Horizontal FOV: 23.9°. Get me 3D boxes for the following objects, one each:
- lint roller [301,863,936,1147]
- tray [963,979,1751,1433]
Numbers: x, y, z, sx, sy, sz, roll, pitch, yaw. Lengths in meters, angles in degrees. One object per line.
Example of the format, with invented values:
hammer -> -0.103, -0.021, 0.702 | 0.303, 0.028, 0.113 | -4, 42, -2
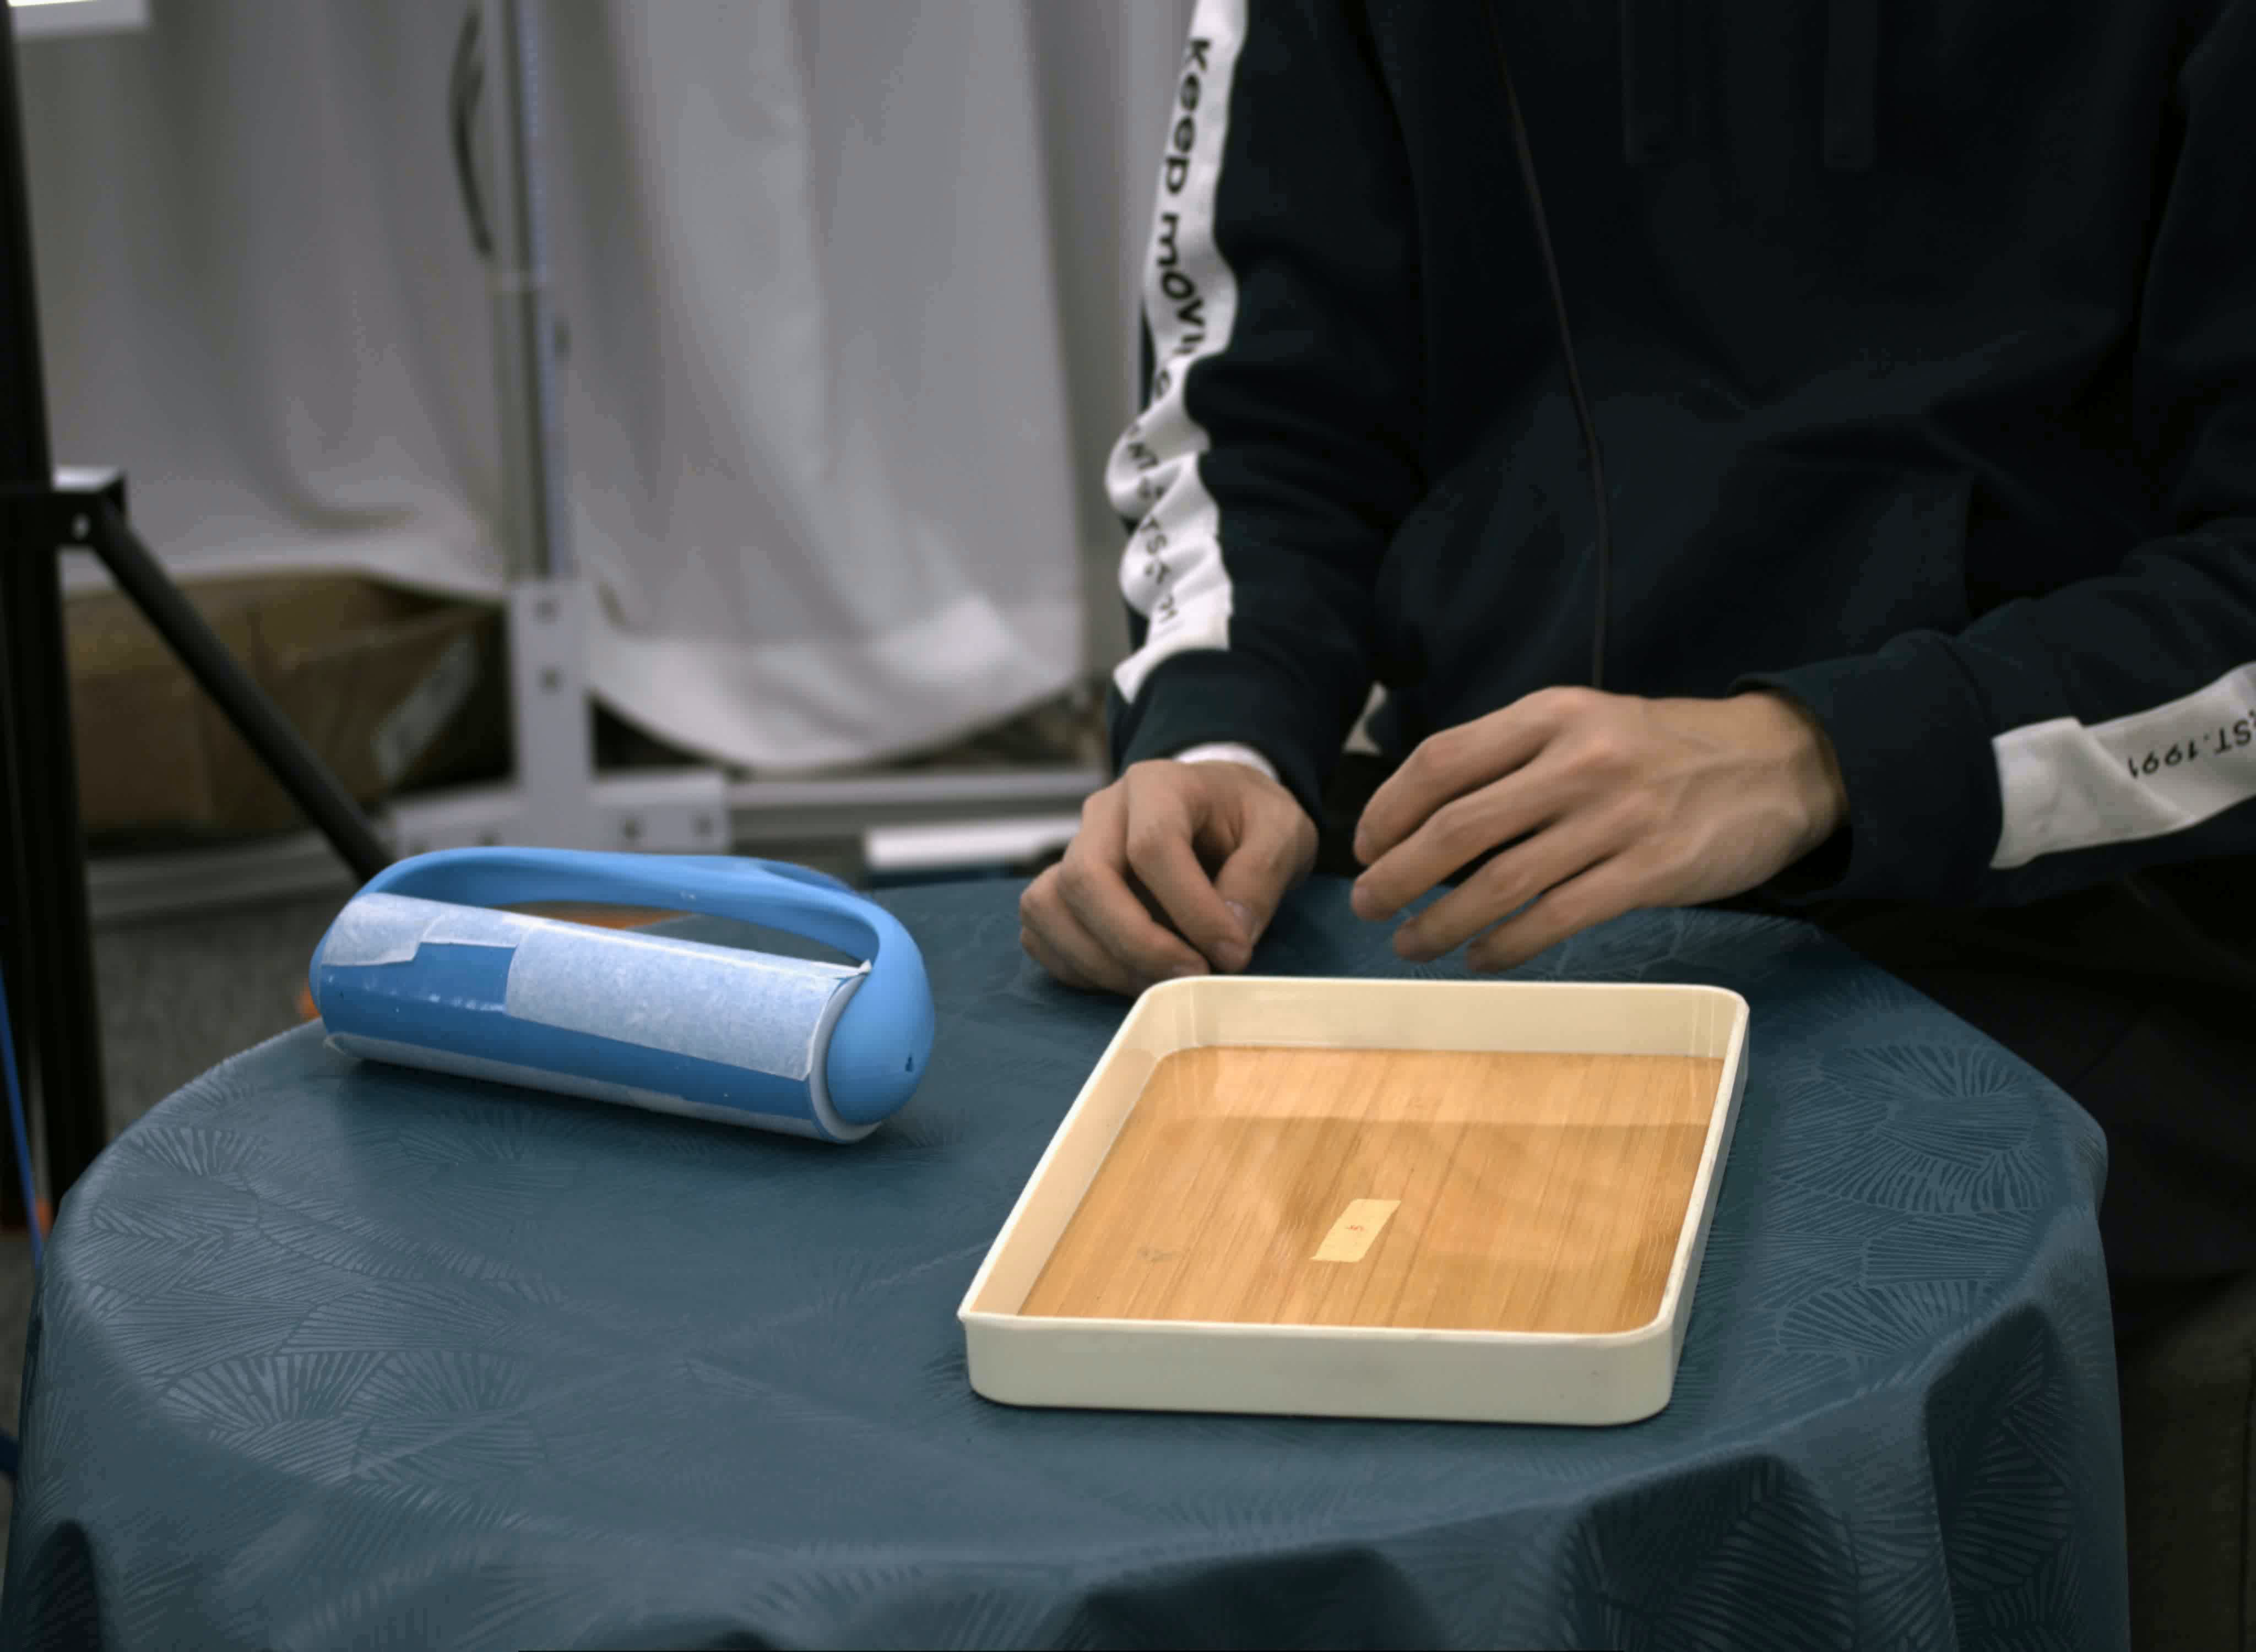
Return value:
lint roller -> -0.134, 0.045, 1.705 | 0.233, 0.068, 0.177 | 4, 18, 29
tray -> 0.074, 0.103, 1.514 | 0.192, 0.027, 0.298 | 1, 16, 12
